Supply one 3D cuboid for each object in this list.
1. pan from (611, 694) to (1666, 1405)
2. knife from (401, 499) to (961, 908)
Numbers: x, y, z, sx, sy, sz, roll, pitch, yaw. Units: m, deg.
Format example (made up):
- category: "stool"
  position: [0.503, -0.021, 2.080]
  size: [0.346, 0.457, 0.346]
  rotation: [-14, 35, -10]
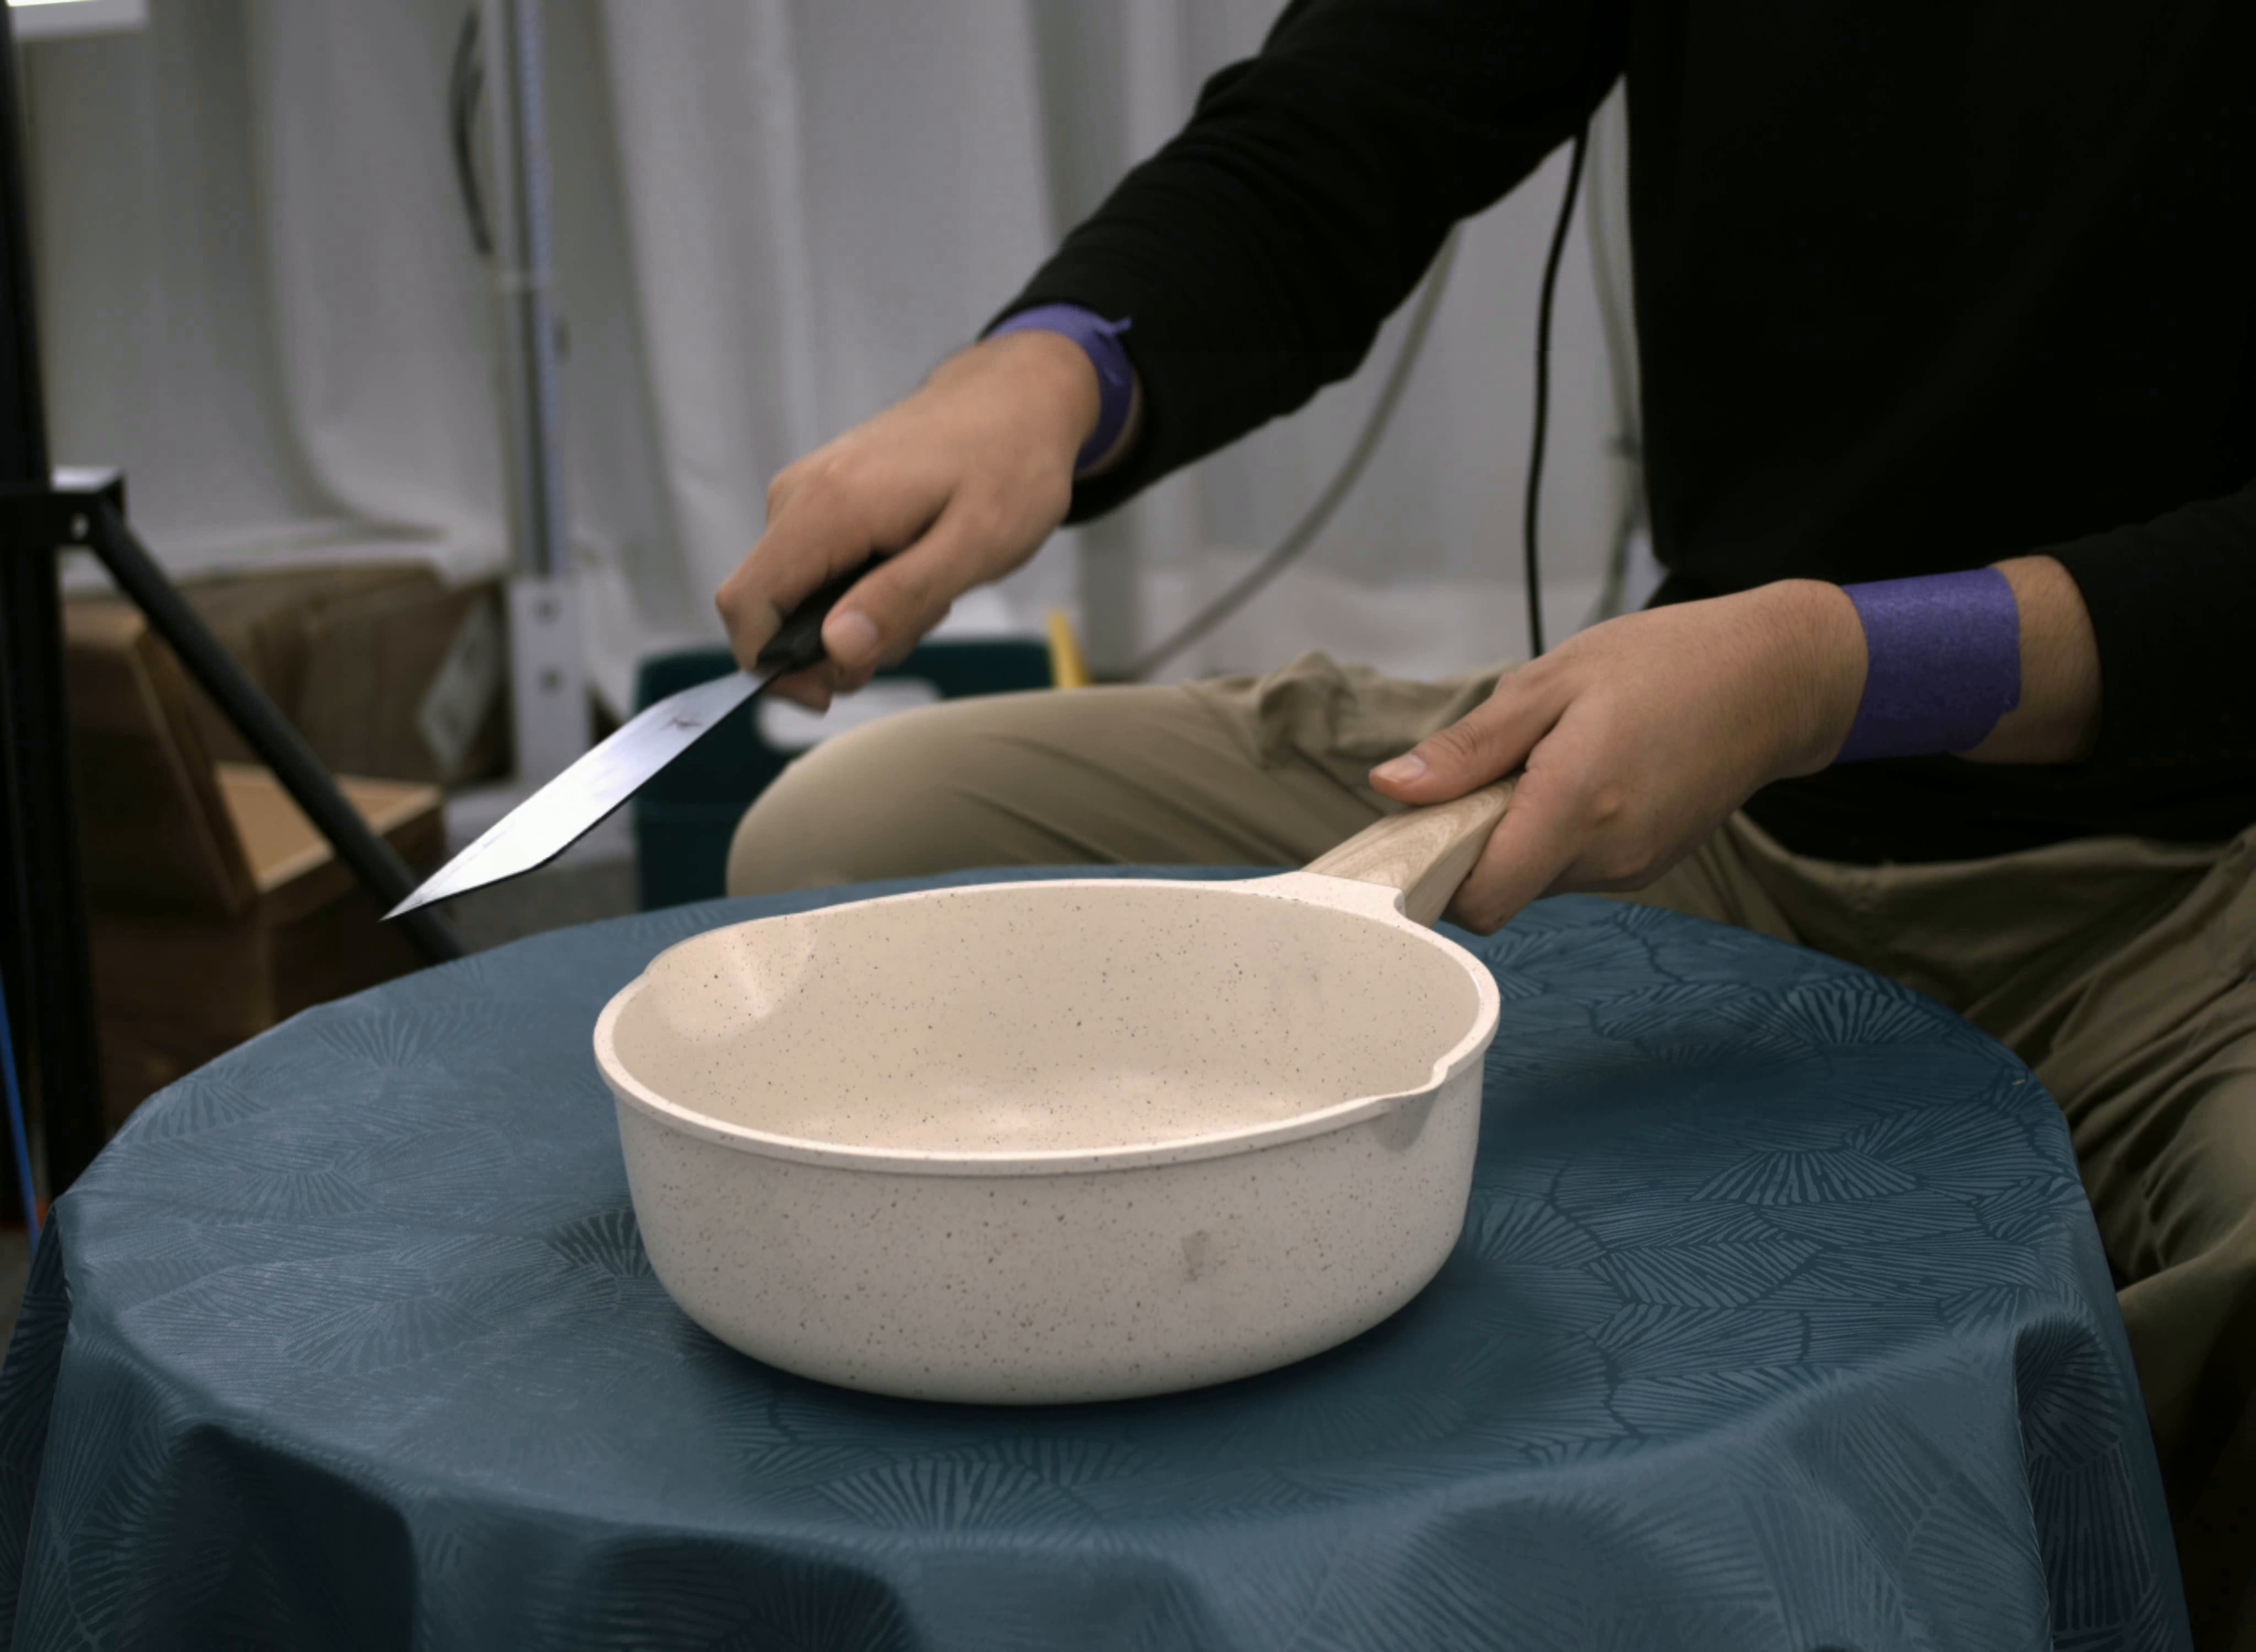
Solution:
- category: "pan"
  position: [0.039, 0.060, 1.537]
  size: [0.269, 0.102, 0.426]
  rotation: [8, 19, 37]
- category: "knife"
  position: [-0.128, -0.040, 1.628]
  size: [0.082, 0.021, 0.298]
  rotation: [-18, 14, 33]
